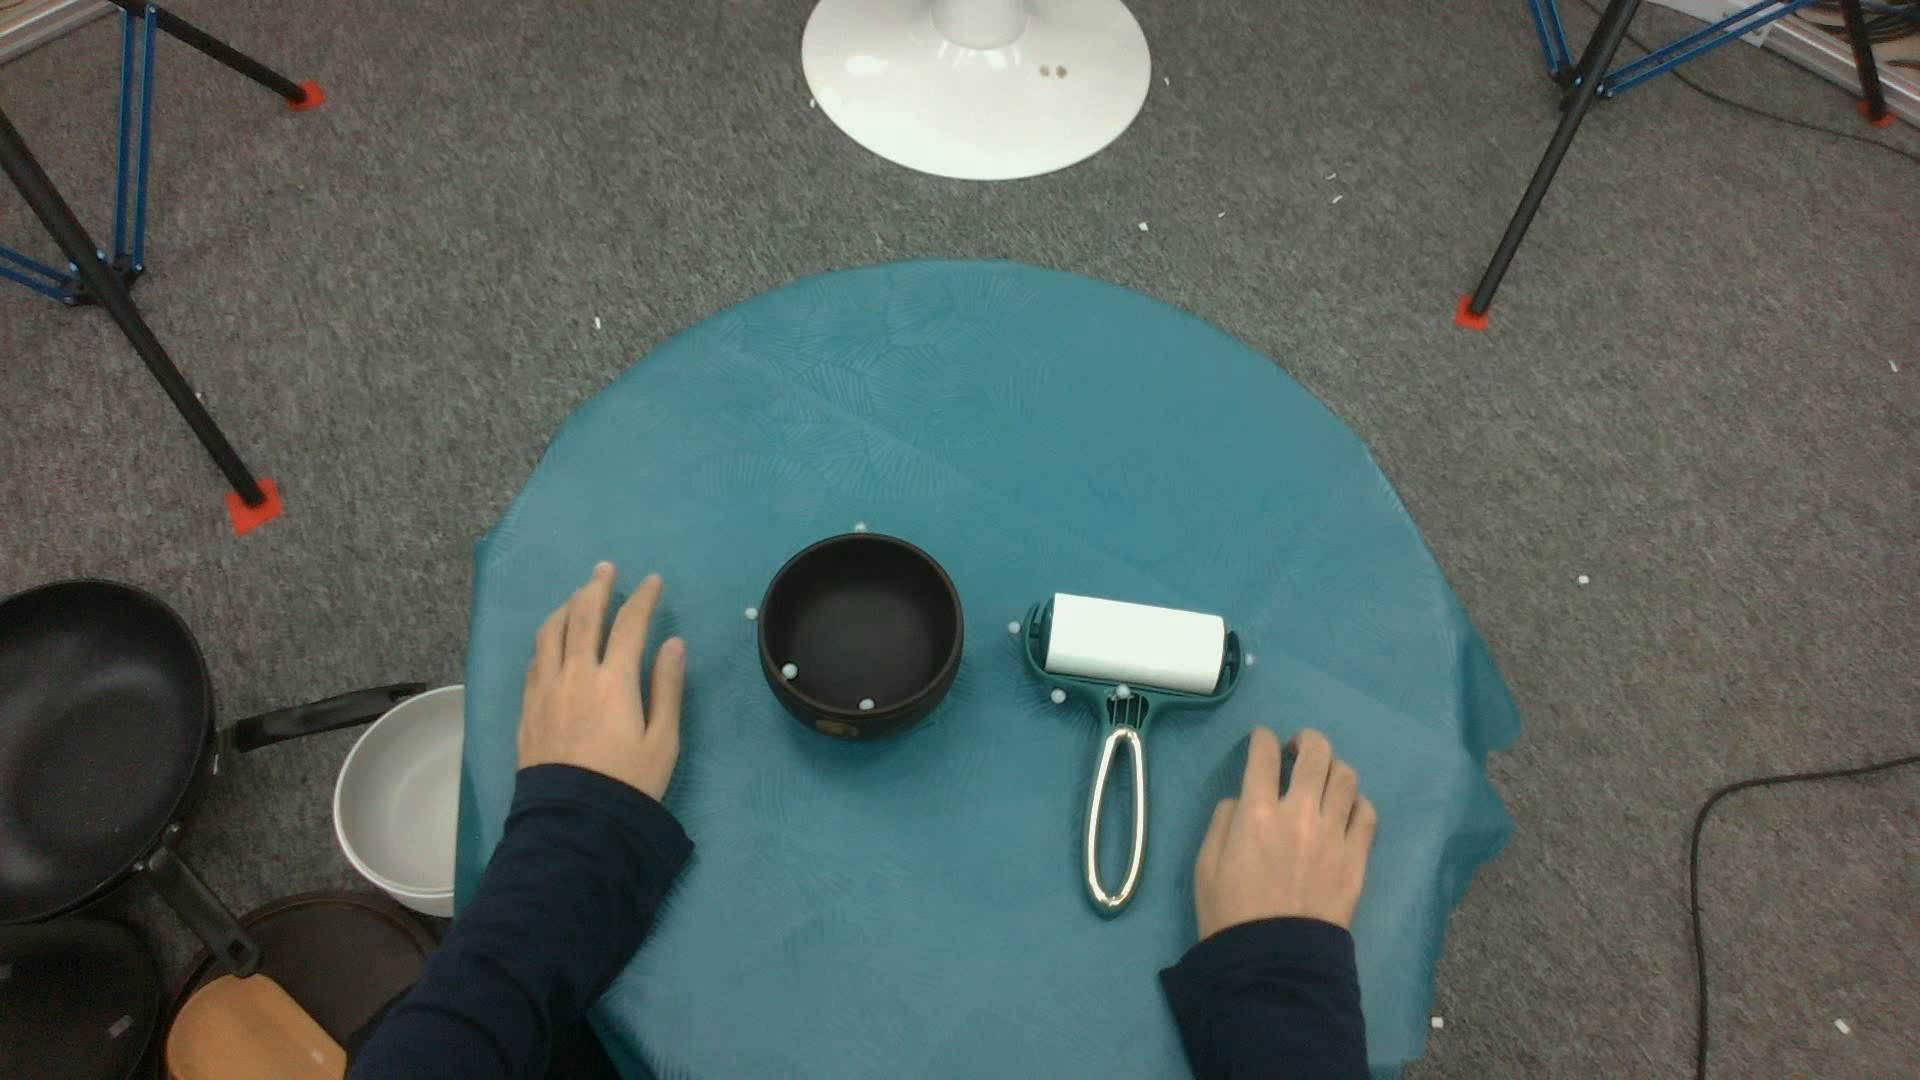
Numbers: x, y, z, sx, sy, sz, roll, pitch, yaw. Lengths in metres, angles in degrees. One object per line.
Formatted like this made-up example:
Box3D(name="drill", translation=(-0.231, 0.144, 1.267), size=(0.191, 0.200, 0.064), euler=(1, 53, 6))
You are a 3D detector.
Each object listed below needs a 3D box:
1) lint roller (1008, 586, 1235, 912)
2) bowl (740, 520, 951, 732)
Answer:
Box3D(name="lint roller", translation=(0.086, 0.115, 0.779), size=(0.134, 0.048, 0.181), euler=(8, 61, 0))
Box3D(name="bowl", translation=(-0.065, 0.055, 0.784), size=(0.118, 0.069, 0.118), euler=(3, 60, -5))
